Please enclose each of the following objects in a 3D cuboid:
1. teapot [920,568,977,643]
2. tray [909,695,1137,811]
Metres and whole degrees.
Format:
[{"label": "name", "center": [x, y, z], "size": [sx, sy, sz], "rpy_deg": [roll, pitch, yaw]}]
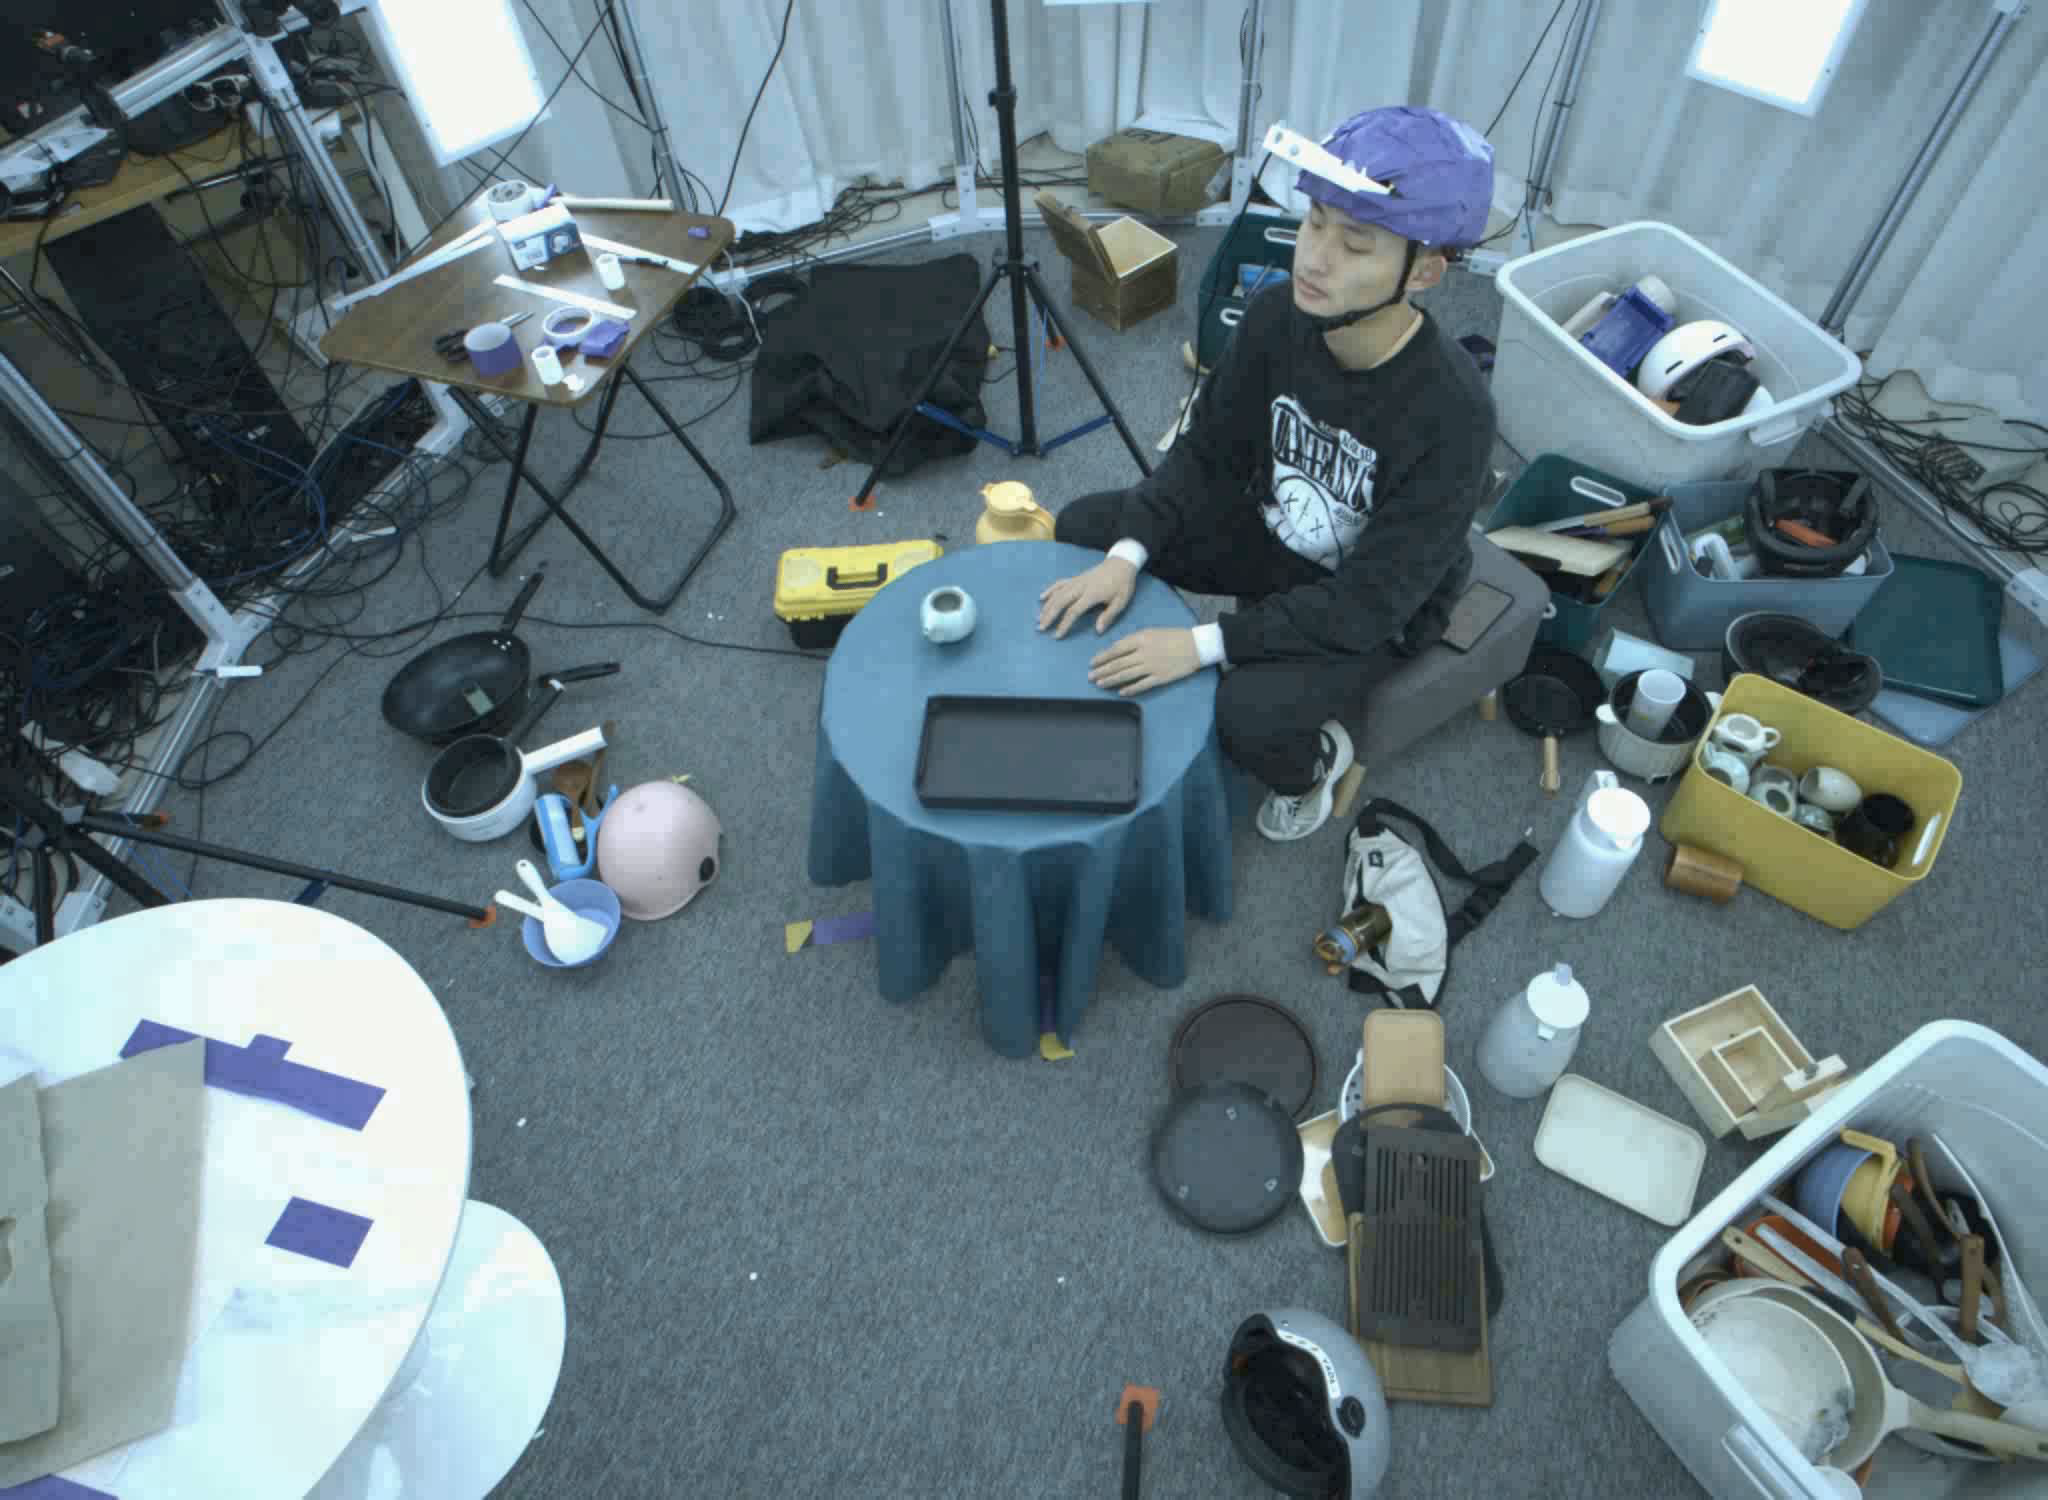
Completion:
[{"label": "teapot", "center": [-0.117, -0.210, 1.892], "size": [0.087, 0.075, 0.144], "rpy_deg": [20, 59, 16]}, {"label": "tray", "center": [0.002, 0.004, 1.758], "size": [0.317, 0.037, 0.182], "rpy_deg": [0, 55, 2]}]
